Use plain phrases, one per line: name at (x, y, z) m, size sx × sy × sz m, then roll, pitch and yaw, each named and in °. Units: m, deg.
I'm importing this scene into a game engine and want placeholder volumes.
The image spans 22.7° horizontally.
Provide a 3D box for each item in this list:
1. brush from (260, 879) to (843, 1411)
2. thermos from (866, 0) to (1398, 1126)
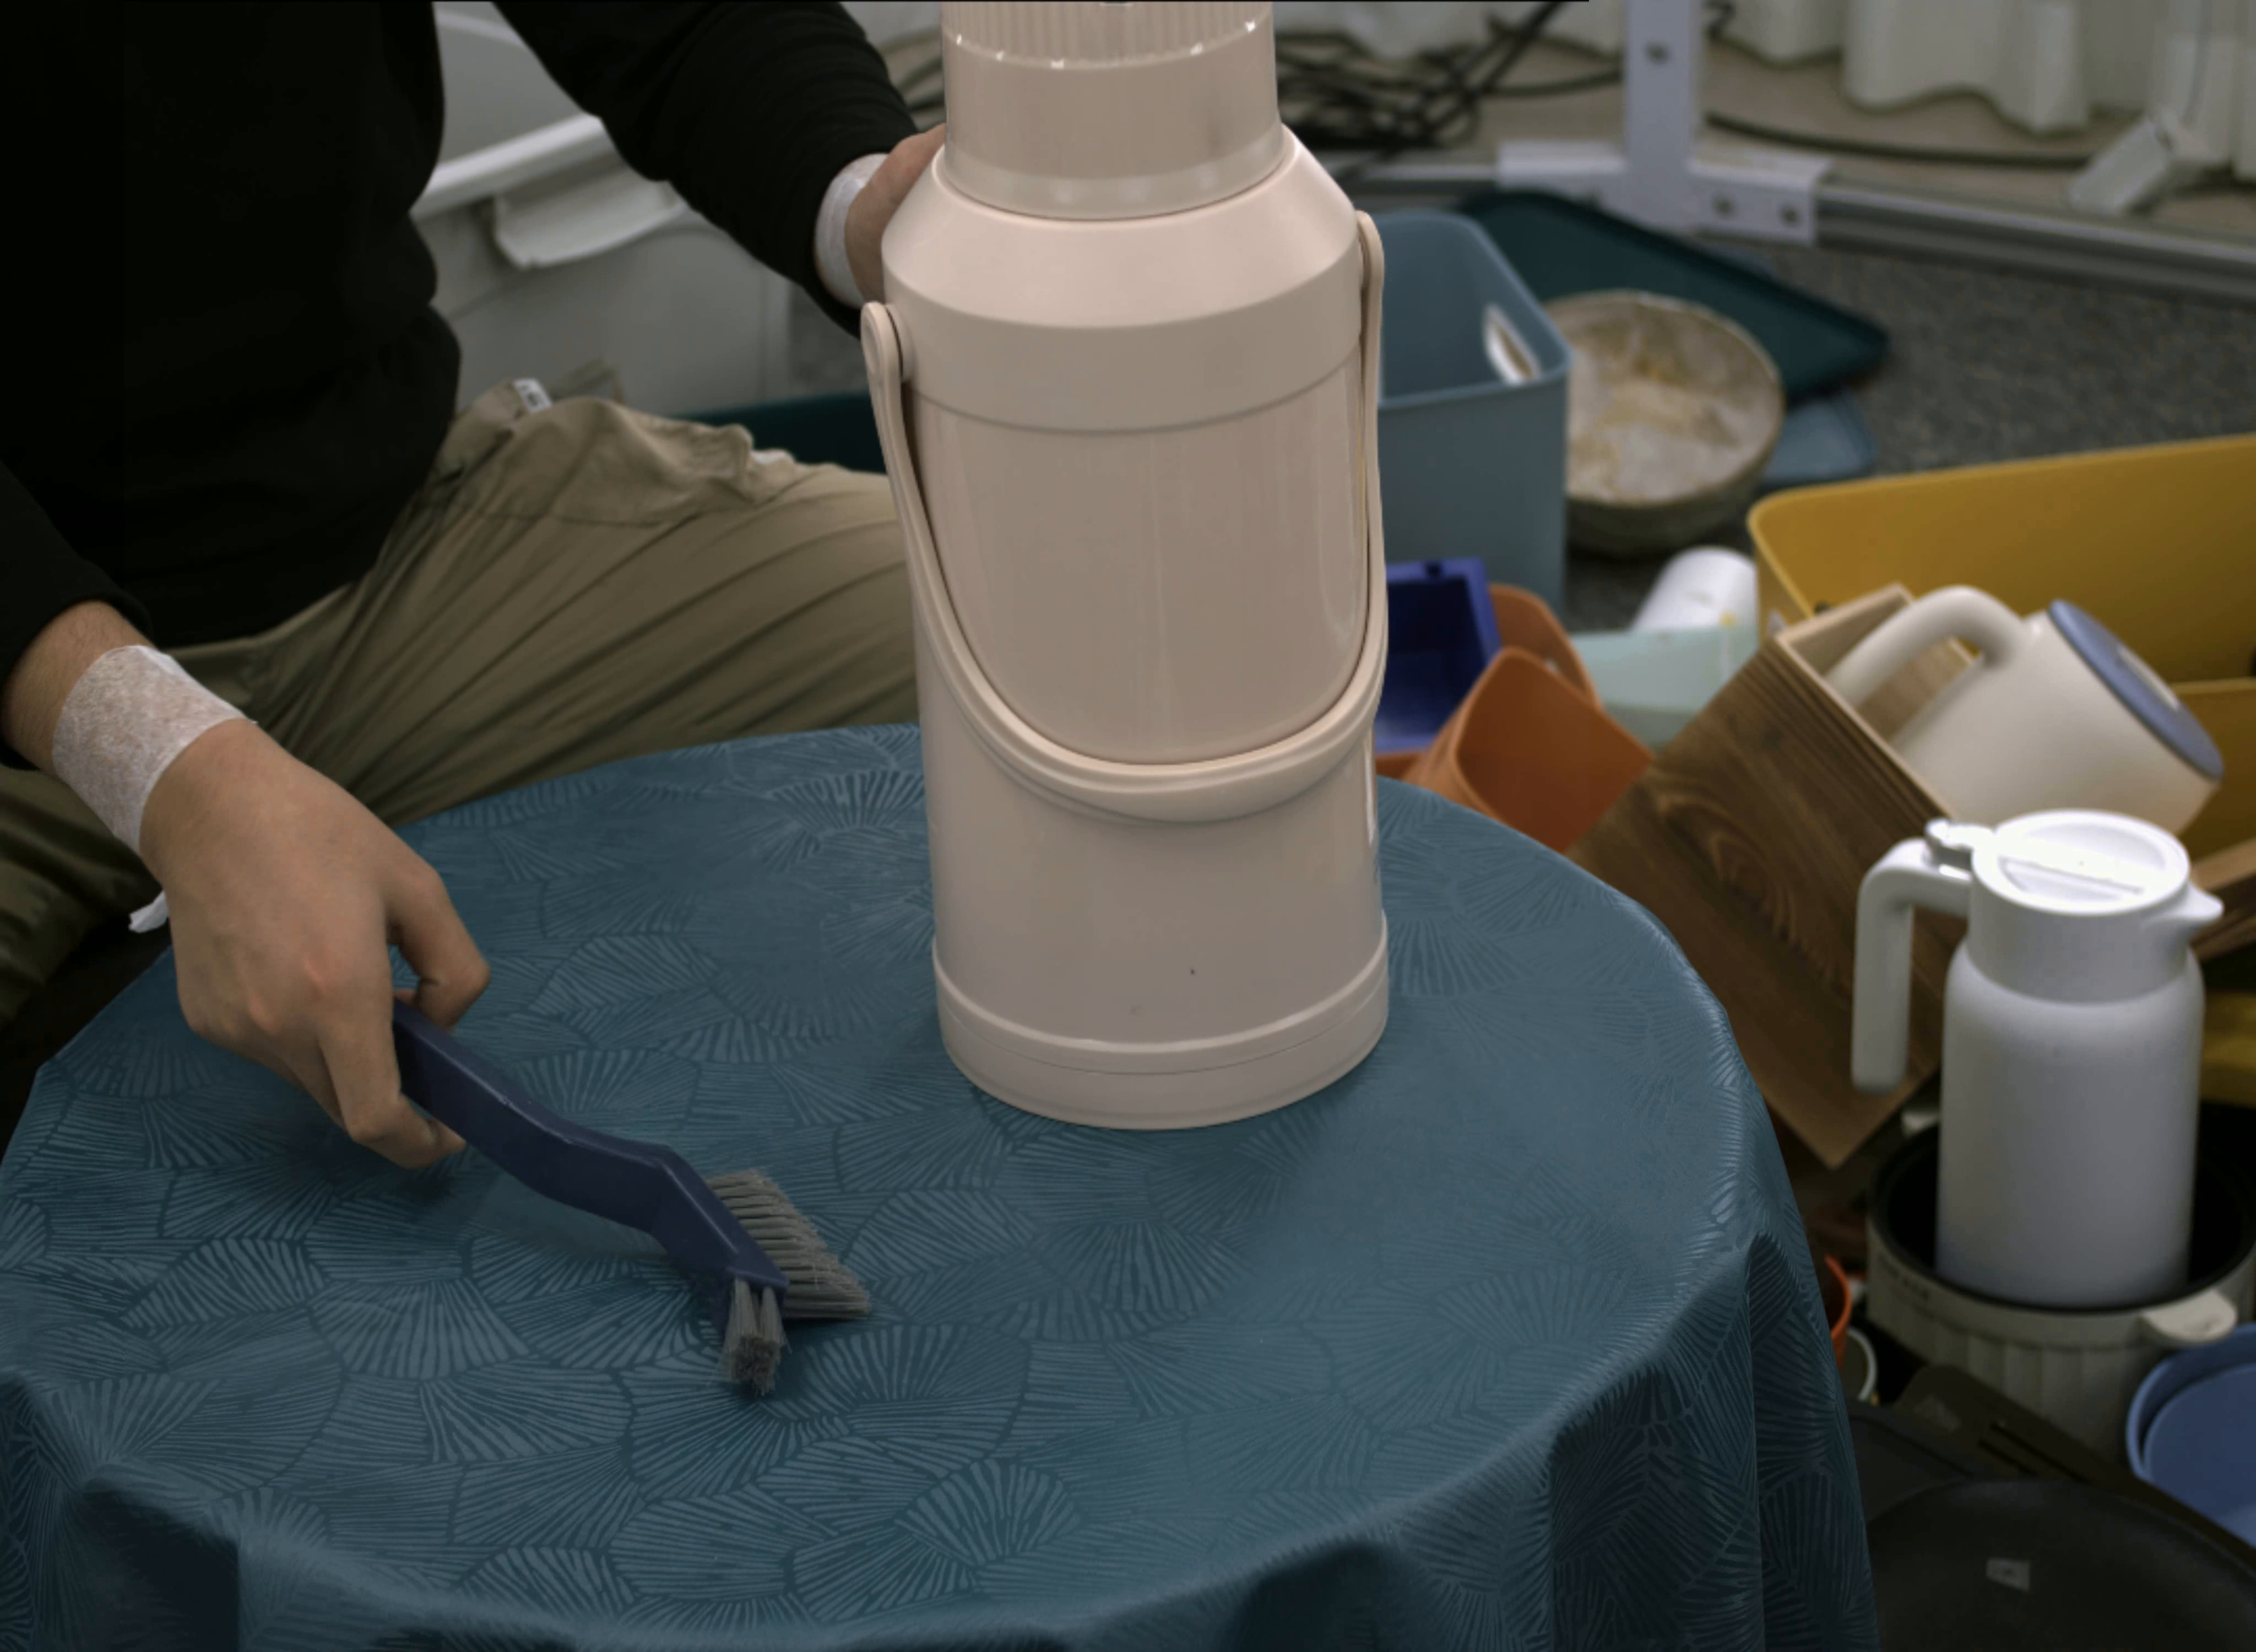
brush at (-0.204, 0.101, 1.839) m, size 0.273 × 0.033 × 0.097 m, roll 29°, pitch 31°, yaw 25°
thermos at (0.001, -0.116, 1.894) m, size 0.176 × 0.402 × 0.209 m, roll -14°, pitch 28°, yaw -17°
